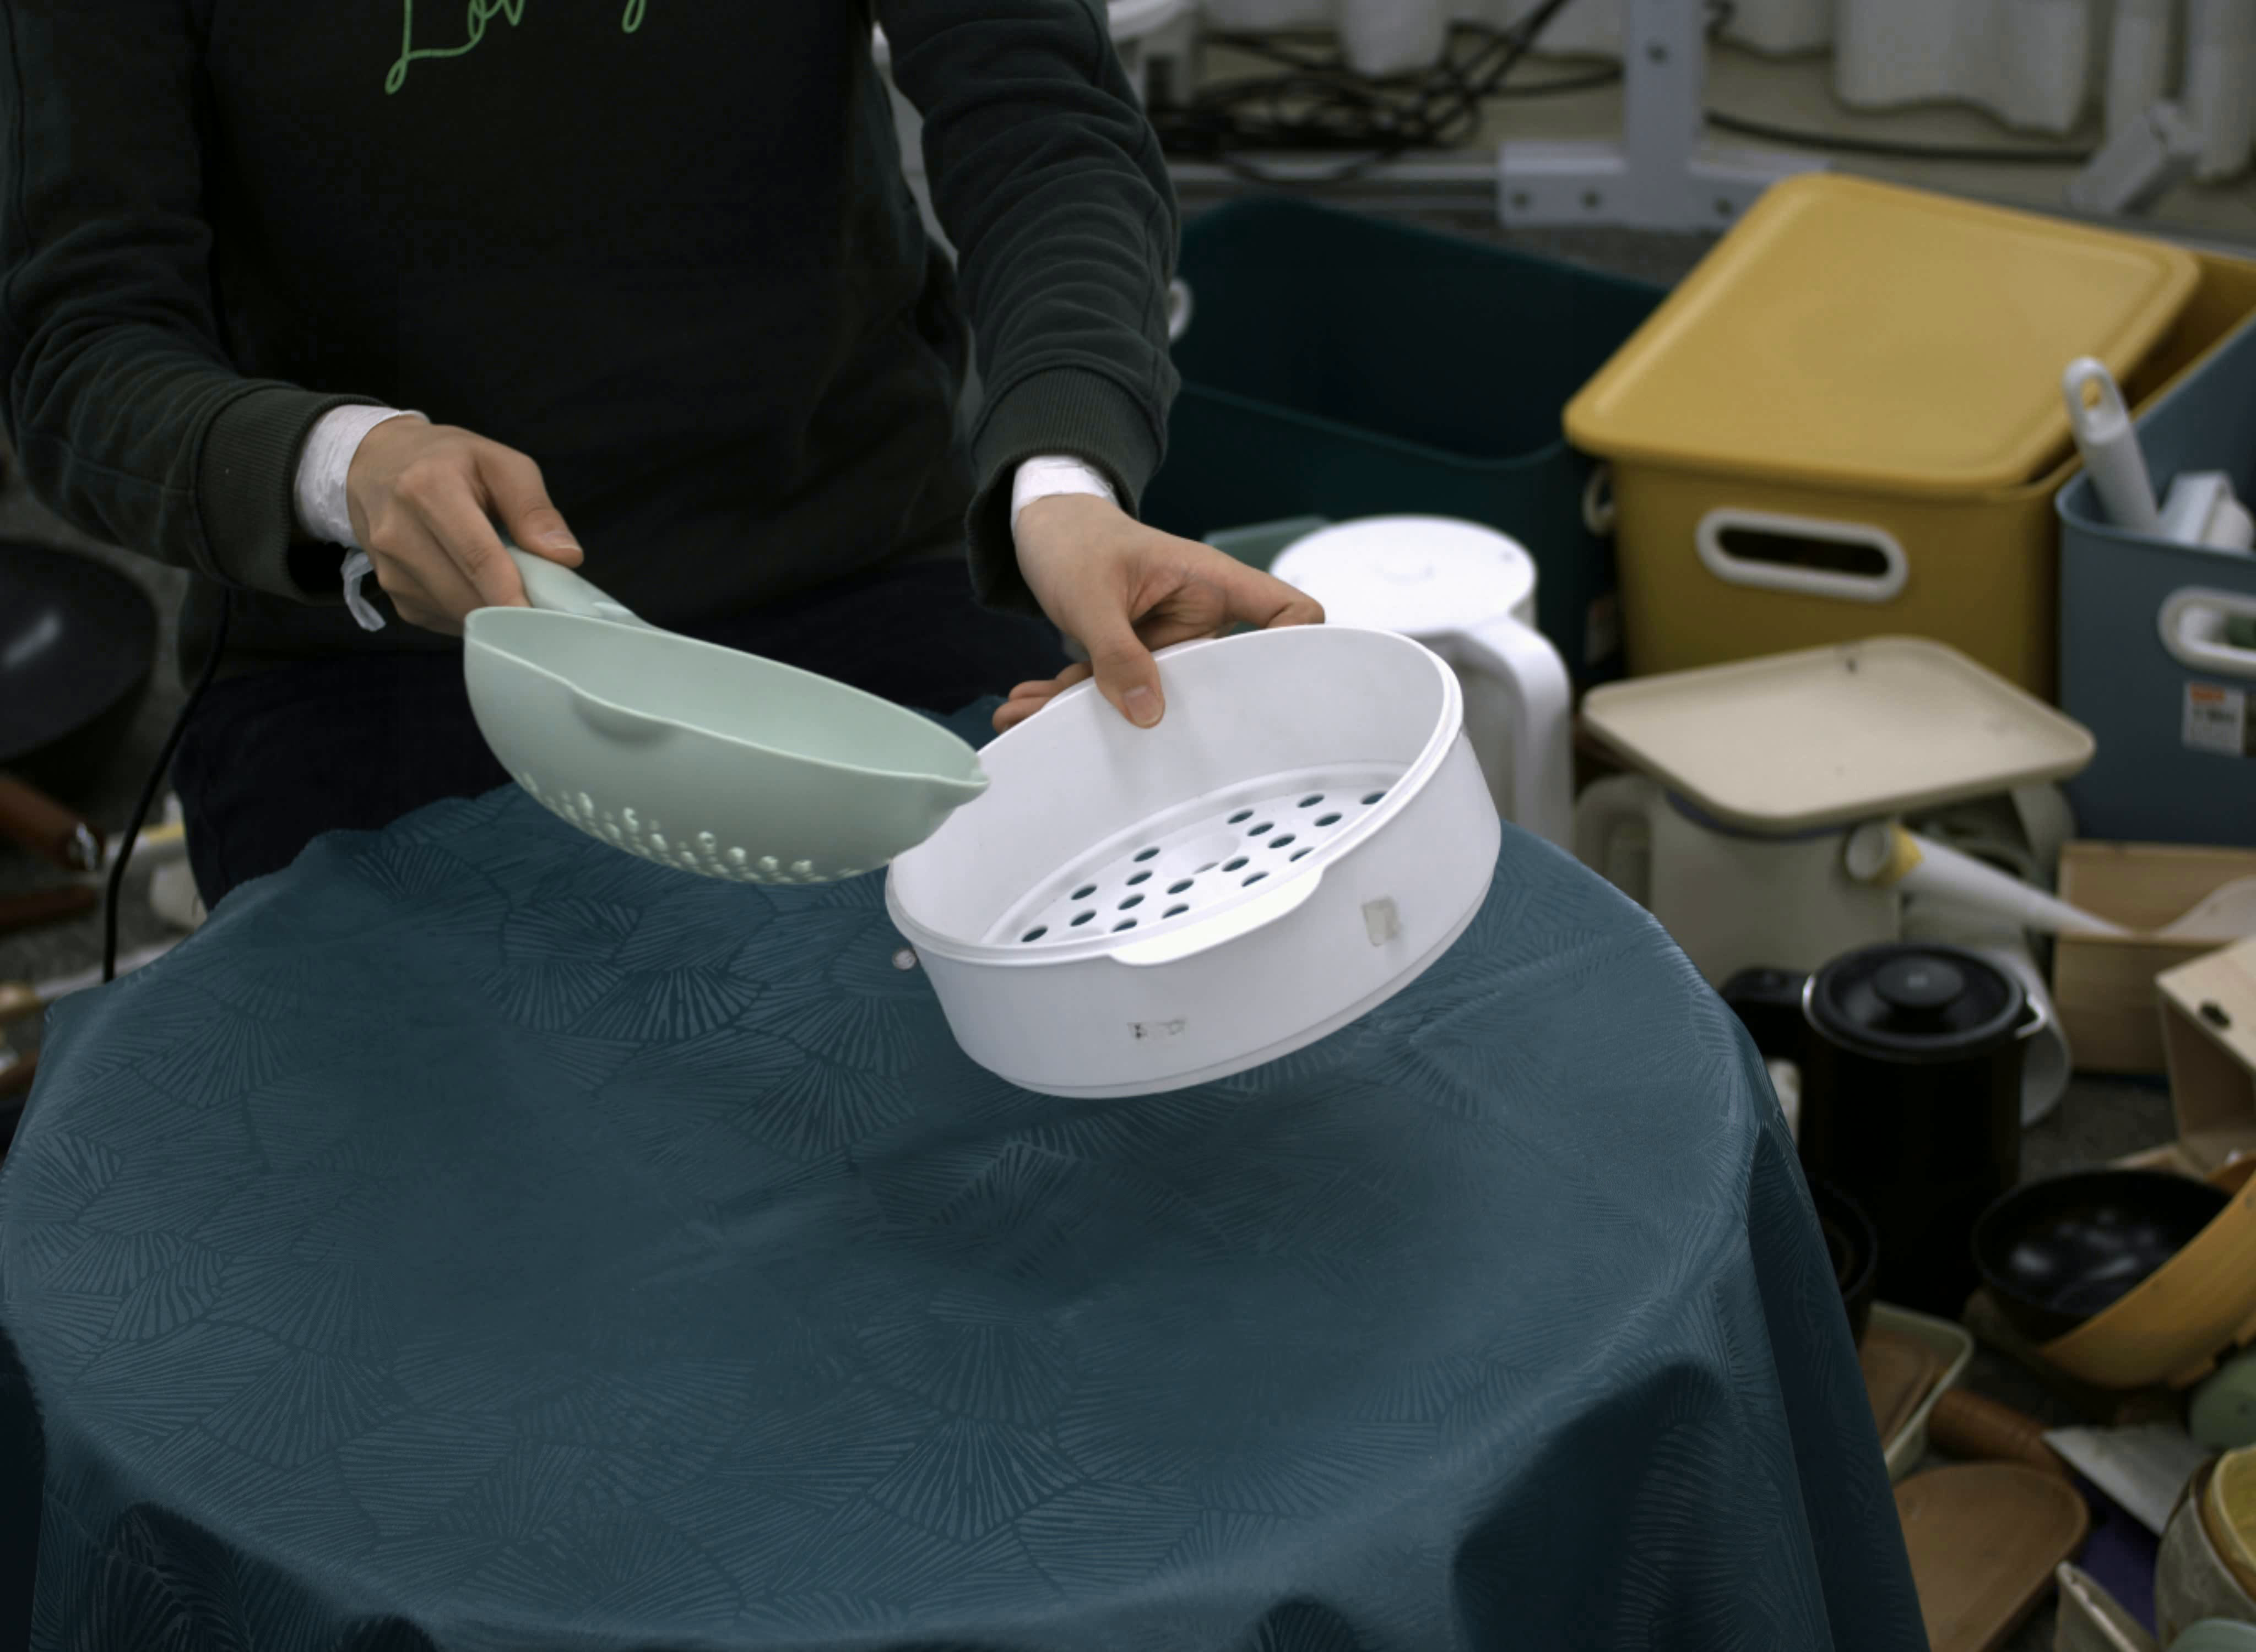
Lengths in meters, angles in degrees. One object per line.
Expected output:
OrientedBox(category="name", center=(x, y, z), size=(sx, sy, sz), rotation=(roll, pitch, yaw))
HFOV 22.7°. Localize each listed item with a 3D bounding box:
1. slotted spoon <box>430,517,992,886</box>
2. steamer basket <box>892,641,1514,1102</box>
OrientedBox(category="slotted spoon", center=(-0.170, -0.057, 1.862), size=(0.169, 0.075, 0.361), rotation=(14, 17, -27))
OrientedBox(category="steamer basket", center=(0.027, 0.016, 1.834), size=(0.201, 0.068, 0.233), rotation=(-19, 25, -3))
